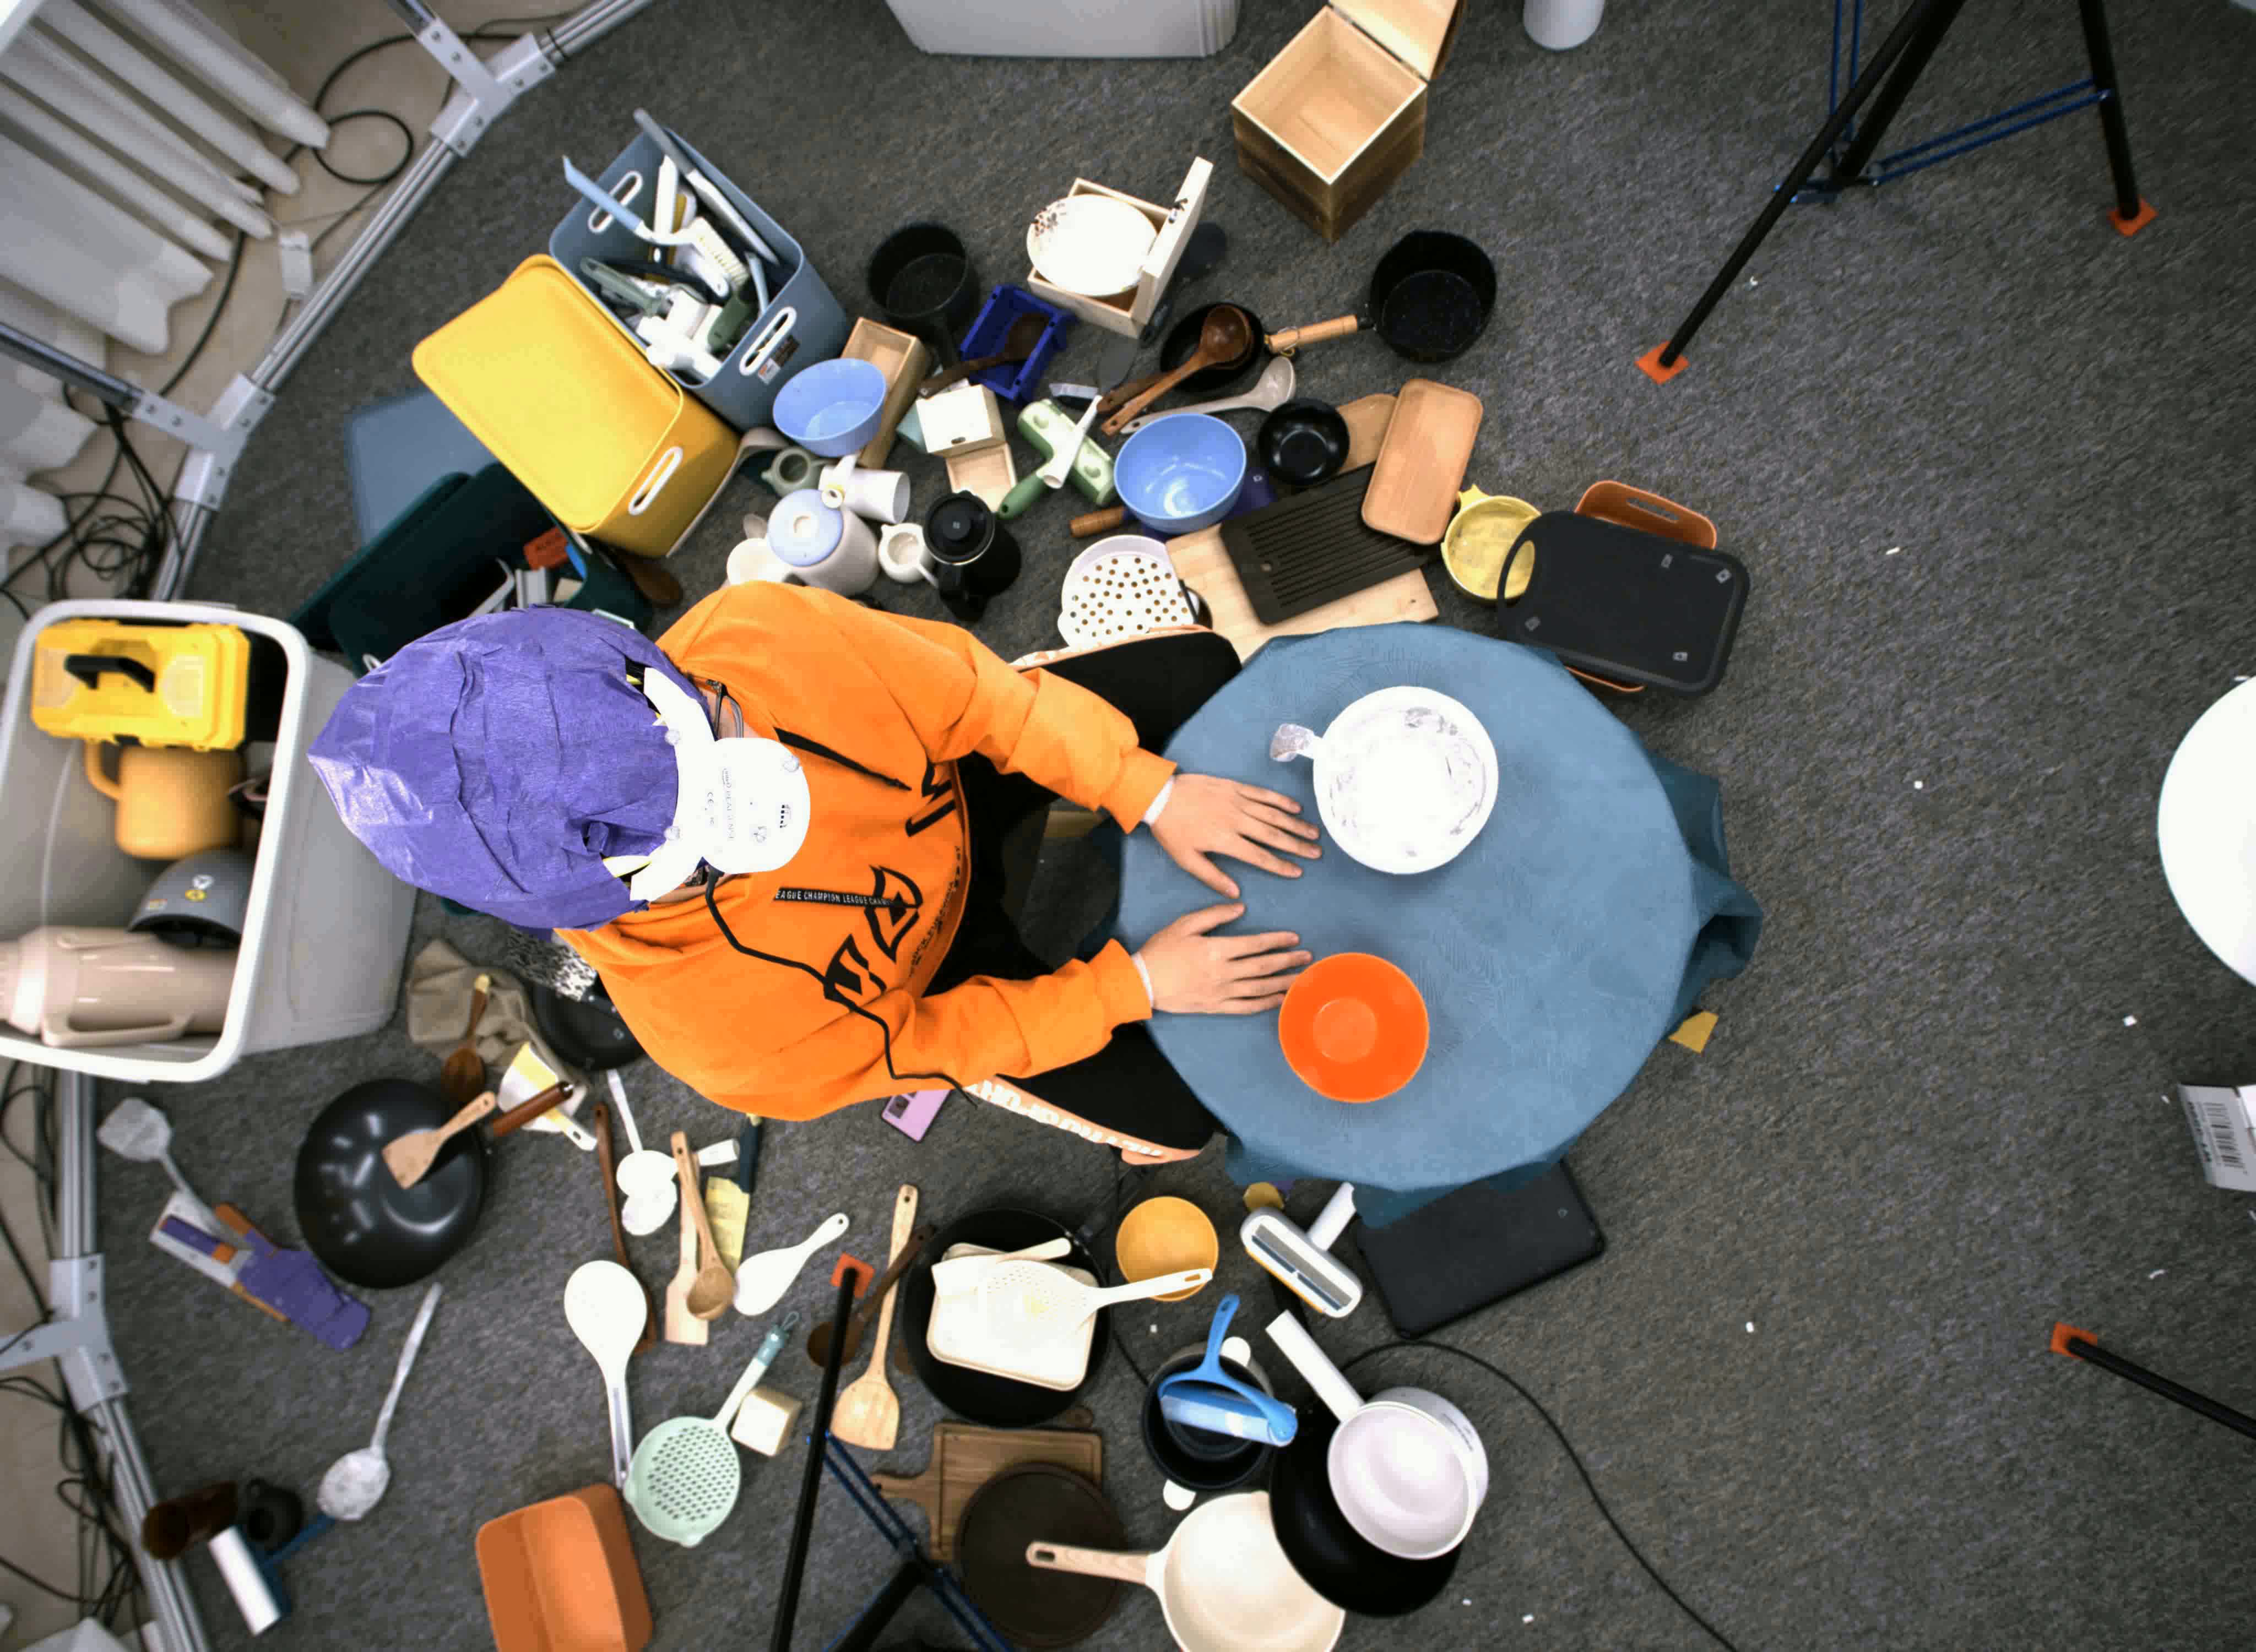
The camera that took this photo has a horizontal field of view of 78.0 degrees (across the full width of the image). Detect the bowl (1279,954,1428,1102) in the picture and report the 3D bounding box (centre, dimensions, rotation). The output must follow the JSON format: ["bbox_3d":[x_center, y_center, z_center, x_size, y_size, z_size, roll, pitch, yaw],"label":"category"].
[{"bbox_3d":[0.231,0.203,1.412,0.148,0.104,0.147,-1,86,12],"label":"bowl"}]

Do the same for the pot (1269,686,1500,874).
[{"bbox_3d":[0.254,-0.052,1.400,0.234,0.137,0.178,20,89,10],"label":"pot"}]
